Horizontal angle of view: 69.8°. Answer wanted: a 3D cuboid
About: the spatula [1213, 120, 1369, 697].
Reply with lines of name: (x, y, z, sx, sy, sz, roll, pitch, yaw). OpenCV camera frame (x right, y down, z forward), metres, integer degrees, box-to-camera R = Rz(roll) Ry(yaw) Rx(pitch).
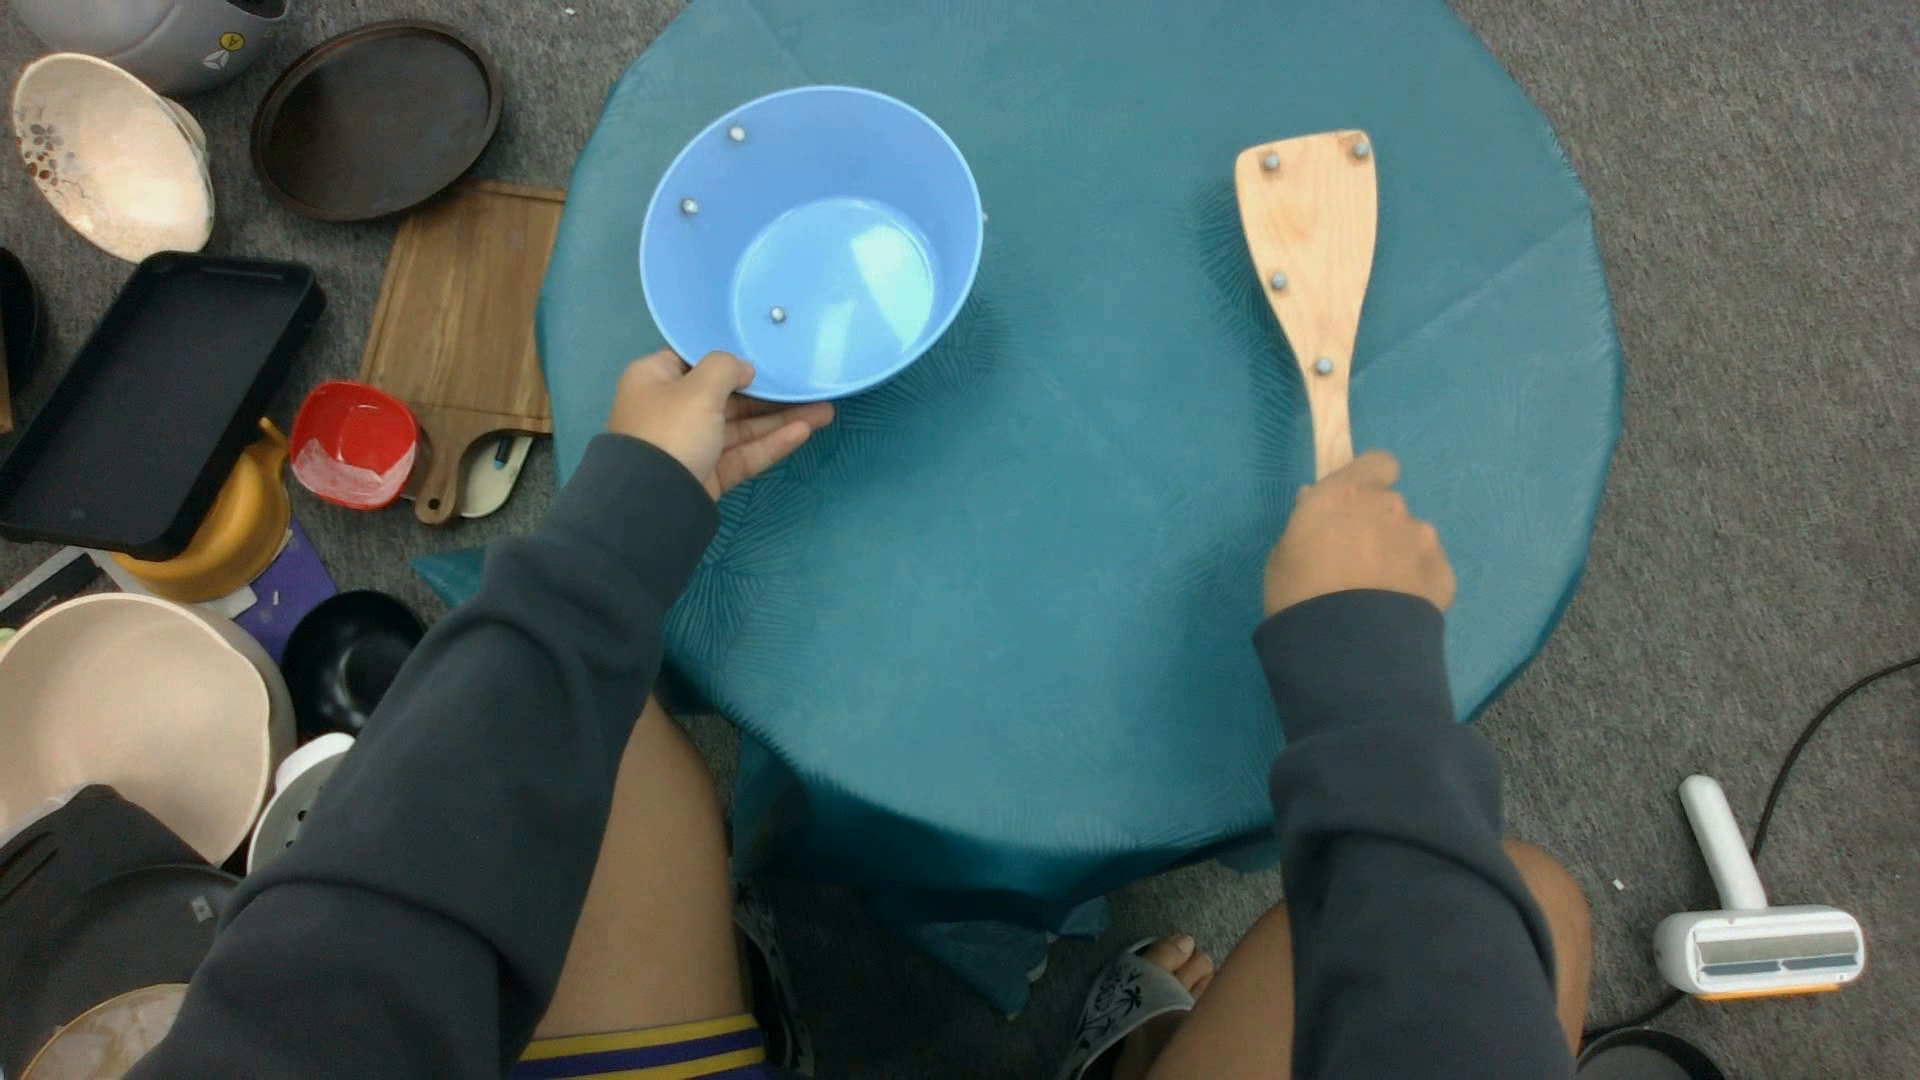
spatula: (0.182, -0.079, 0.720, 0.080, 0.016, 0.328, 0, 70, -3)

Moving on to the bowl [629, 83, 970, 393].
bowl: (-0.079, -0.145, 0.720, 0.176, 0.070, 0.176, -2, 72, 6)
